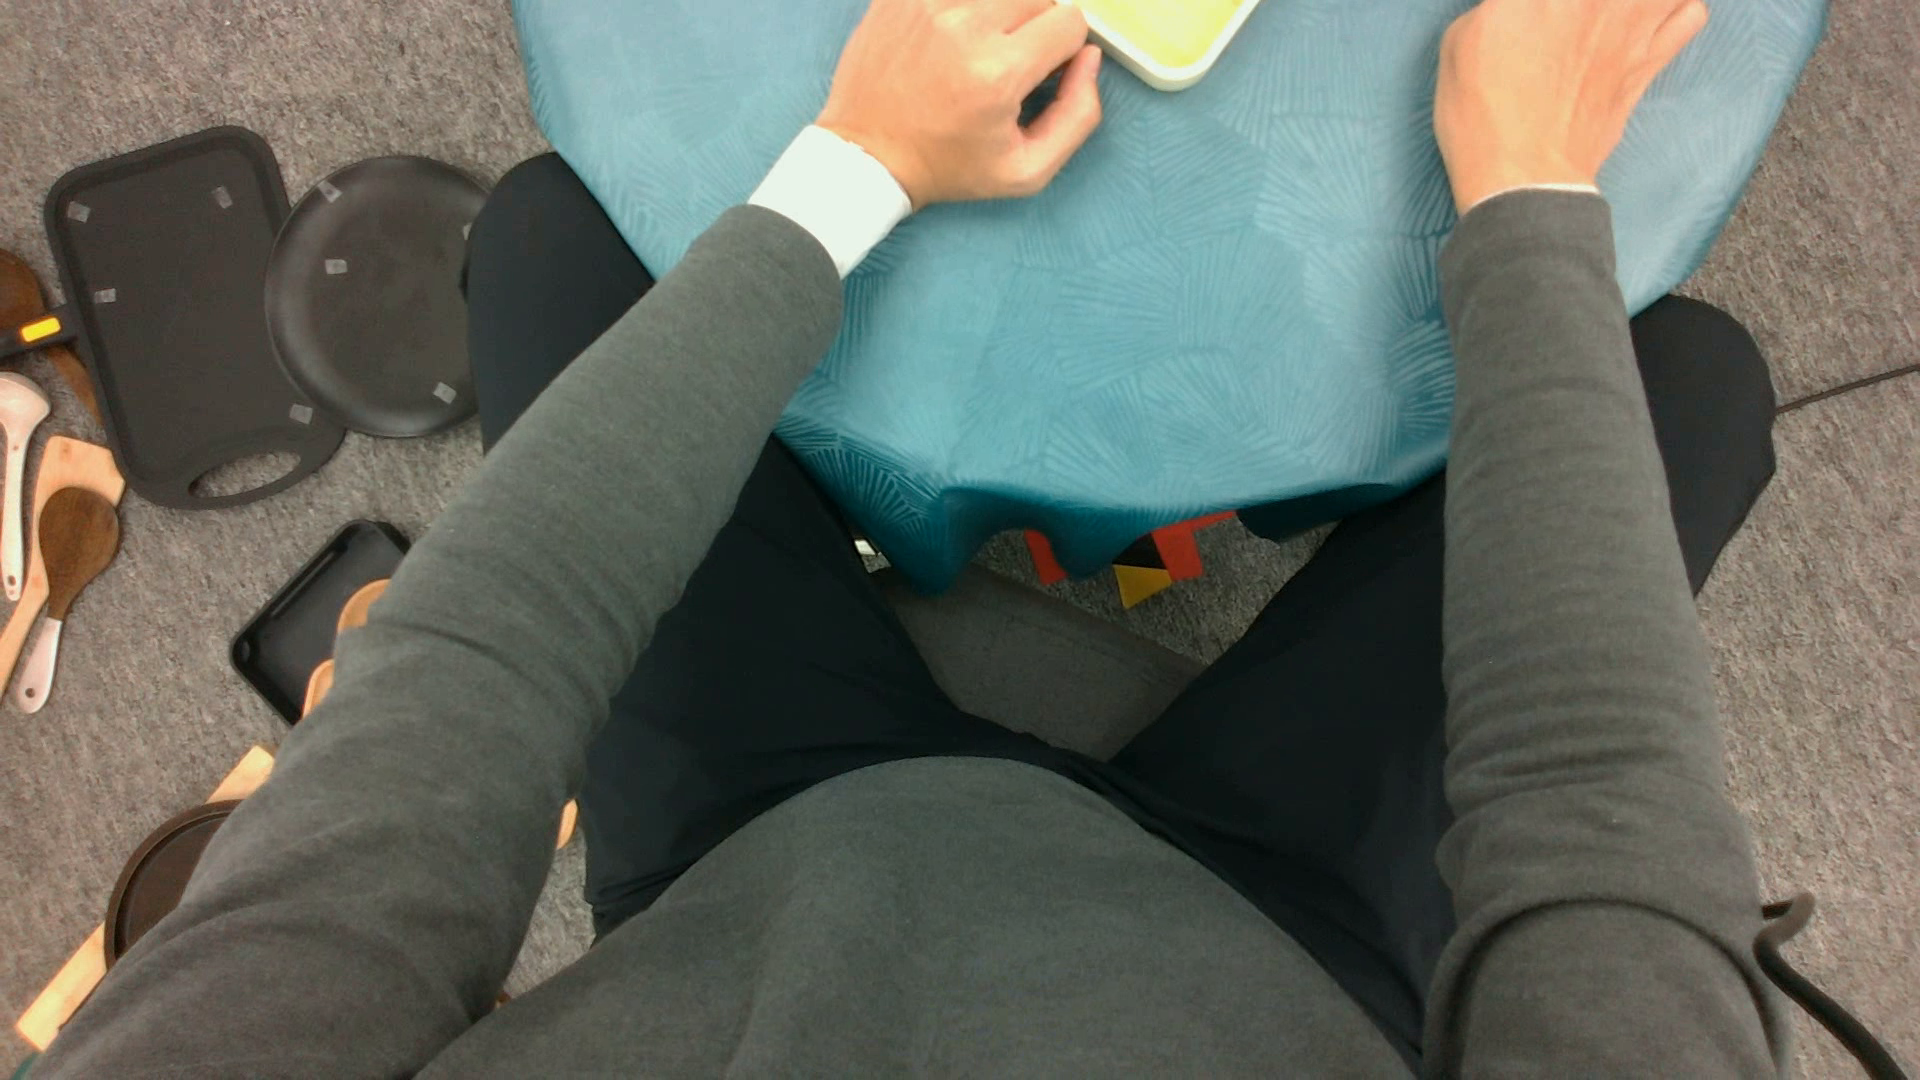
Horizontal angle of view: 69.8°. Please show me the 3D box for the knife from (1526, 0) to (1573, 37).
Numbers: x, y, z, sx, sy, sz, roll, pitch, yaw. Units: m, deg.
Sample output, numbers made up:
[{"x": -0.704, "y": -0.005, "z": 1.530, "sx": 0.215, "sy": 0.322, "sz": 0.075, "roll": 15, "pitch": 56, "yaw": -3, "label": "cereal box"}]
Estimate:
[{"x": 0.276, "y": -0.339, "z": 0.598, "sx": 0.024, "sy": 0.016, "sz": 0.238, "roll": 9, "pitch": 94, "yaw": 13, "label": "knife"}]

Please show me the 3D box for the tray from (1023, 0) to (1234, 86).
[{"x": 0.026, "y": -0.361, "z": 0.608, "sx": 0.300, "sy": 0.027, "sz": 0.191, "roll": 37, "pitch": 95, "yaw": 1, "label": "tray"}]
